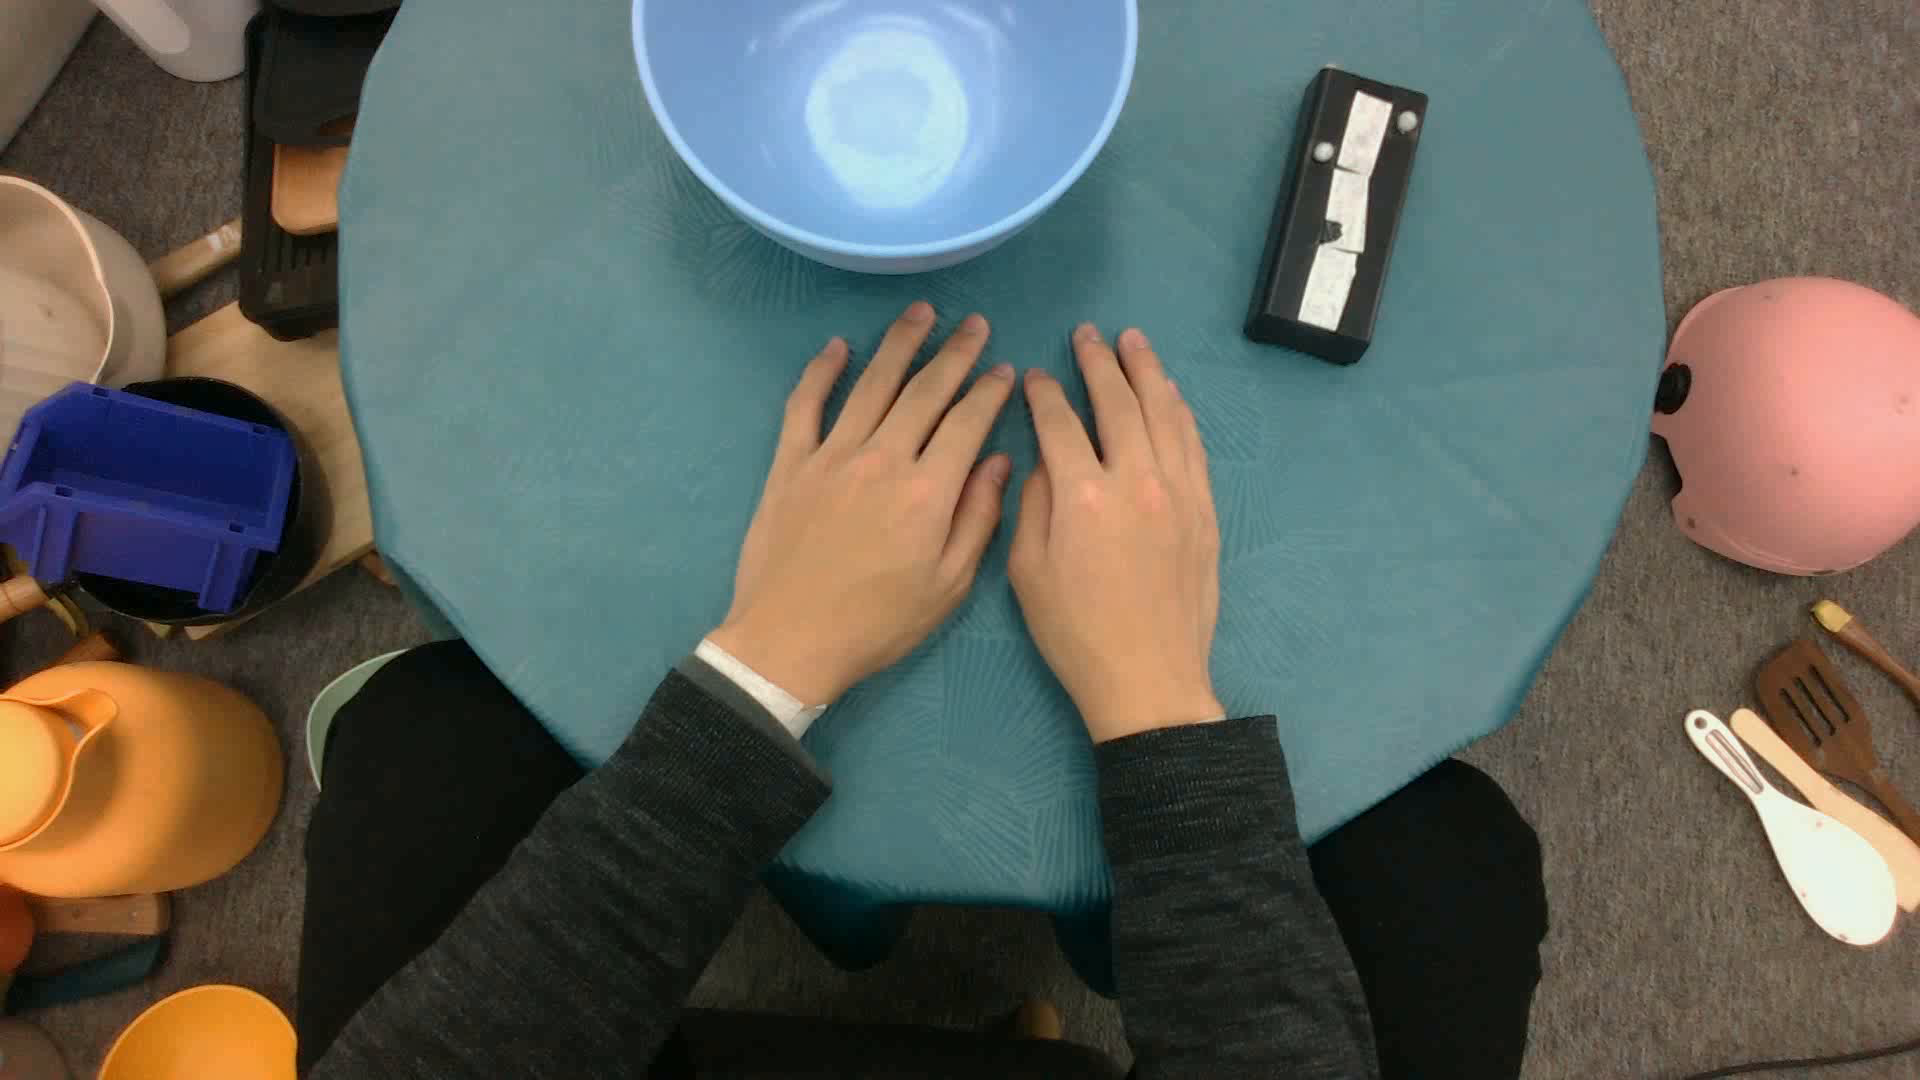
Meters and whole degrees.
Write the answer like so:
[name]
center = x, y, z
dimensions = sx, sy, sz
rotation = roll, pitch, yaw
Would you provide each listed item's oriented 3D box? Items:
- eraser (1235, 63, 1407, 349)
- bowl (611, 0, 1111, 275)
[eraser]
center = 0.162, -0.152, 0.622
dimensions = 0.053, 0.030, 0.126
rotation = 14, 79, 2
[bowl]
center = -0.043, -0.194, 0.583
dimensions = 0.196, 0.095, 0.197
rotation = 2, 77, -9
